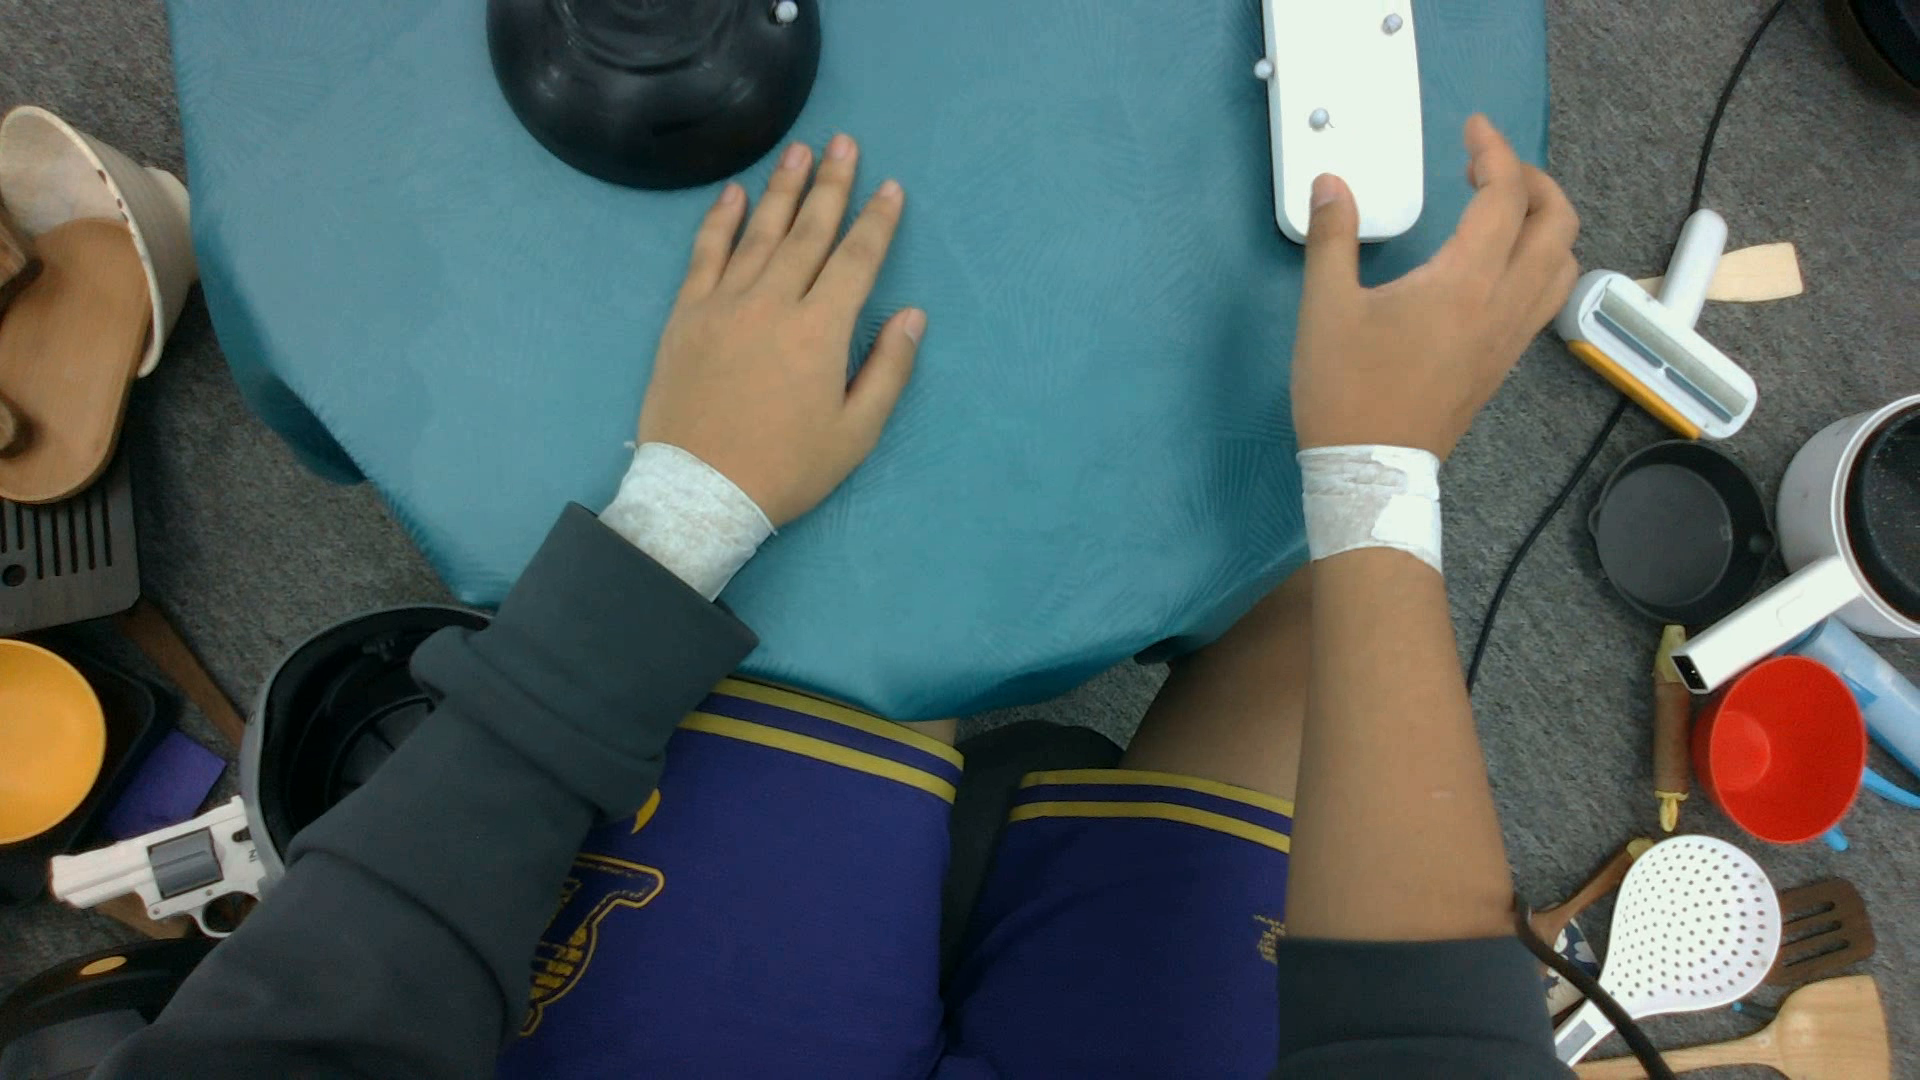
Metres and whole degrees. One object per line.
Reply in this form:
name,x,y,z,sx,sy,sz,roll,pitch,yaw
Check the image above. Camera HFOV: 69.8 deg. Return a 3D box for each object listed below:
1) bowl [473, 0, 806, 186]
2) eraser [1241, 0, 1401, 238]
bowl,-0.132,-0.220,0.564,0.140,0.049,0.140,1,84,-8
eraser,0.156,-0.198,0.605,0.063,0.034,0.131,-1,83,-6
